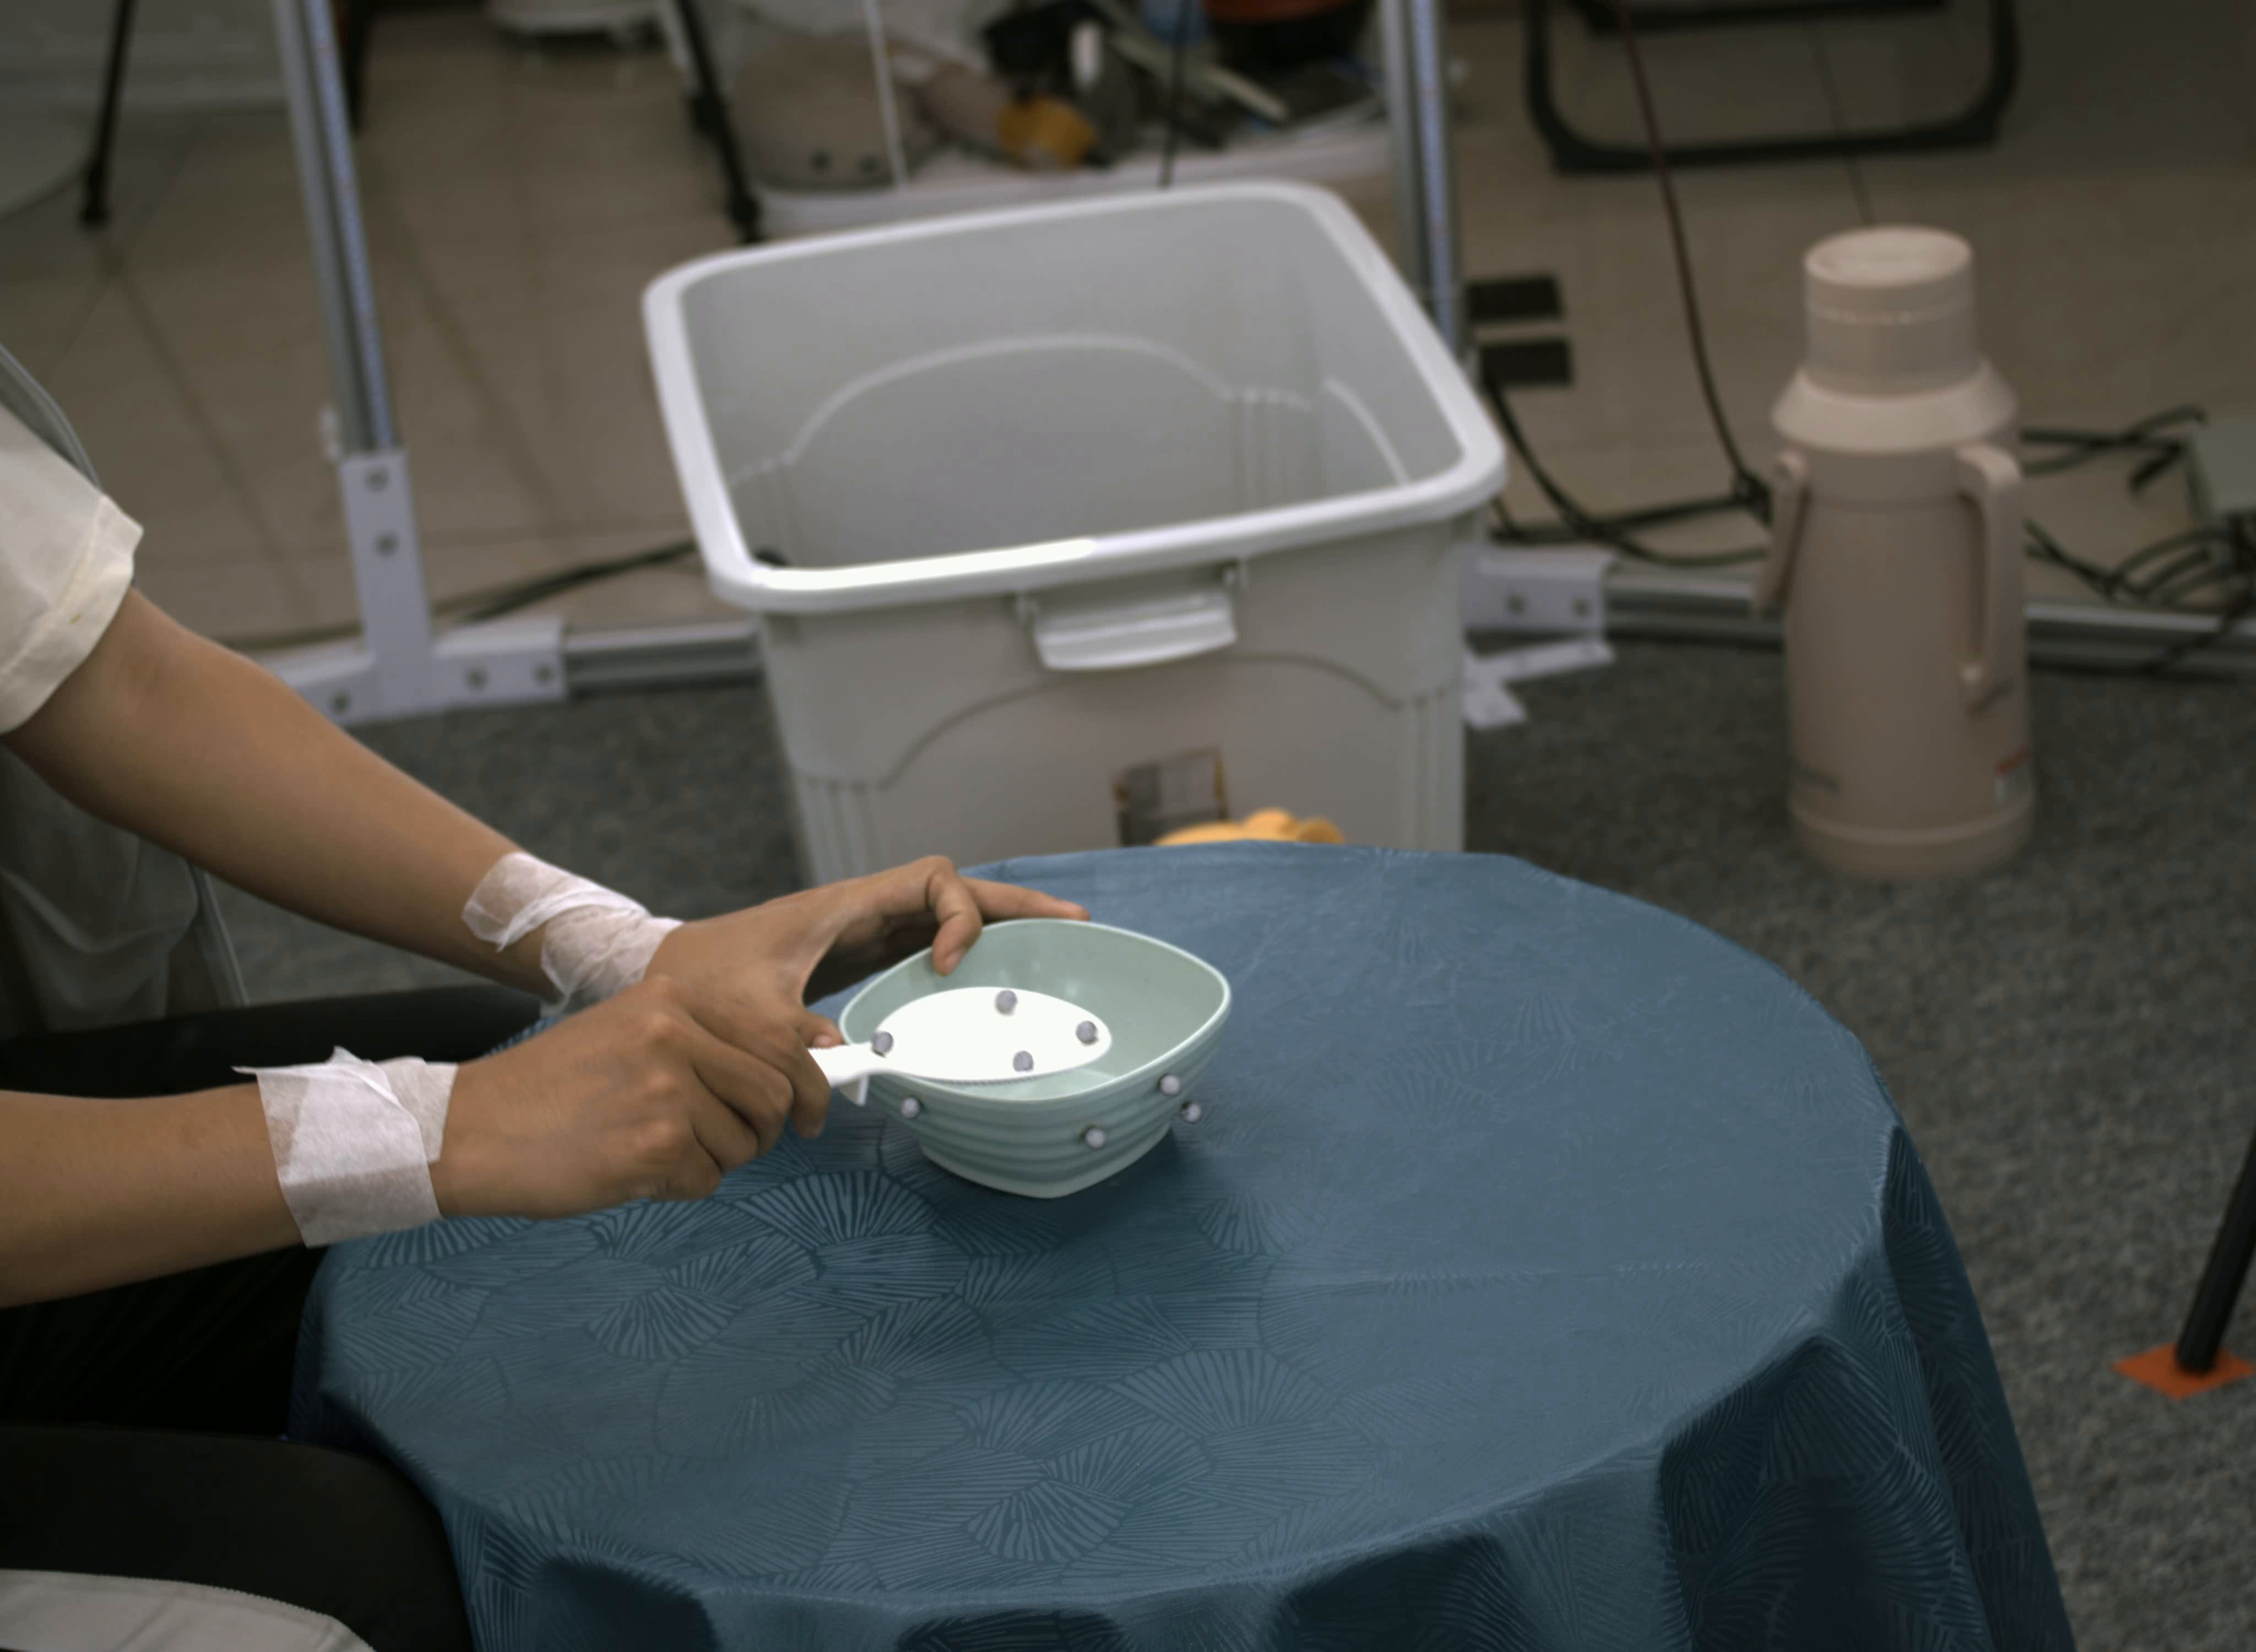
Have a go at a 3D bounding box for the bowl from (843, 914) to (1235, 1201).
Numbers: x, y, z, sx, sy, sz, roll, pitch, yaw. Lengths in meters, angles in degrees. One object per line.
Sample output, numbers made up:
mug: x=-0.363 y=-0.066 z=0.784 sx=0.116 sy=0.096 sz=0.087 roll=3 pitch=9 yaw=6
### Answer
bowl: x=-0.032 y=0.095 z=2.185 sx=0.151 sy=0.059 sz=0.149 roll=-4 pitch=28 yaw=2

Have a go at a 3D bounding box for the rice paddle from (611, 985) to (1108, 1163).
rice paddle: x=-0.093 y=0.085 z=2.035 sx=0.204 sy=0.030 sz=0.068 roll=-12 pitch=33 yaw=-37
